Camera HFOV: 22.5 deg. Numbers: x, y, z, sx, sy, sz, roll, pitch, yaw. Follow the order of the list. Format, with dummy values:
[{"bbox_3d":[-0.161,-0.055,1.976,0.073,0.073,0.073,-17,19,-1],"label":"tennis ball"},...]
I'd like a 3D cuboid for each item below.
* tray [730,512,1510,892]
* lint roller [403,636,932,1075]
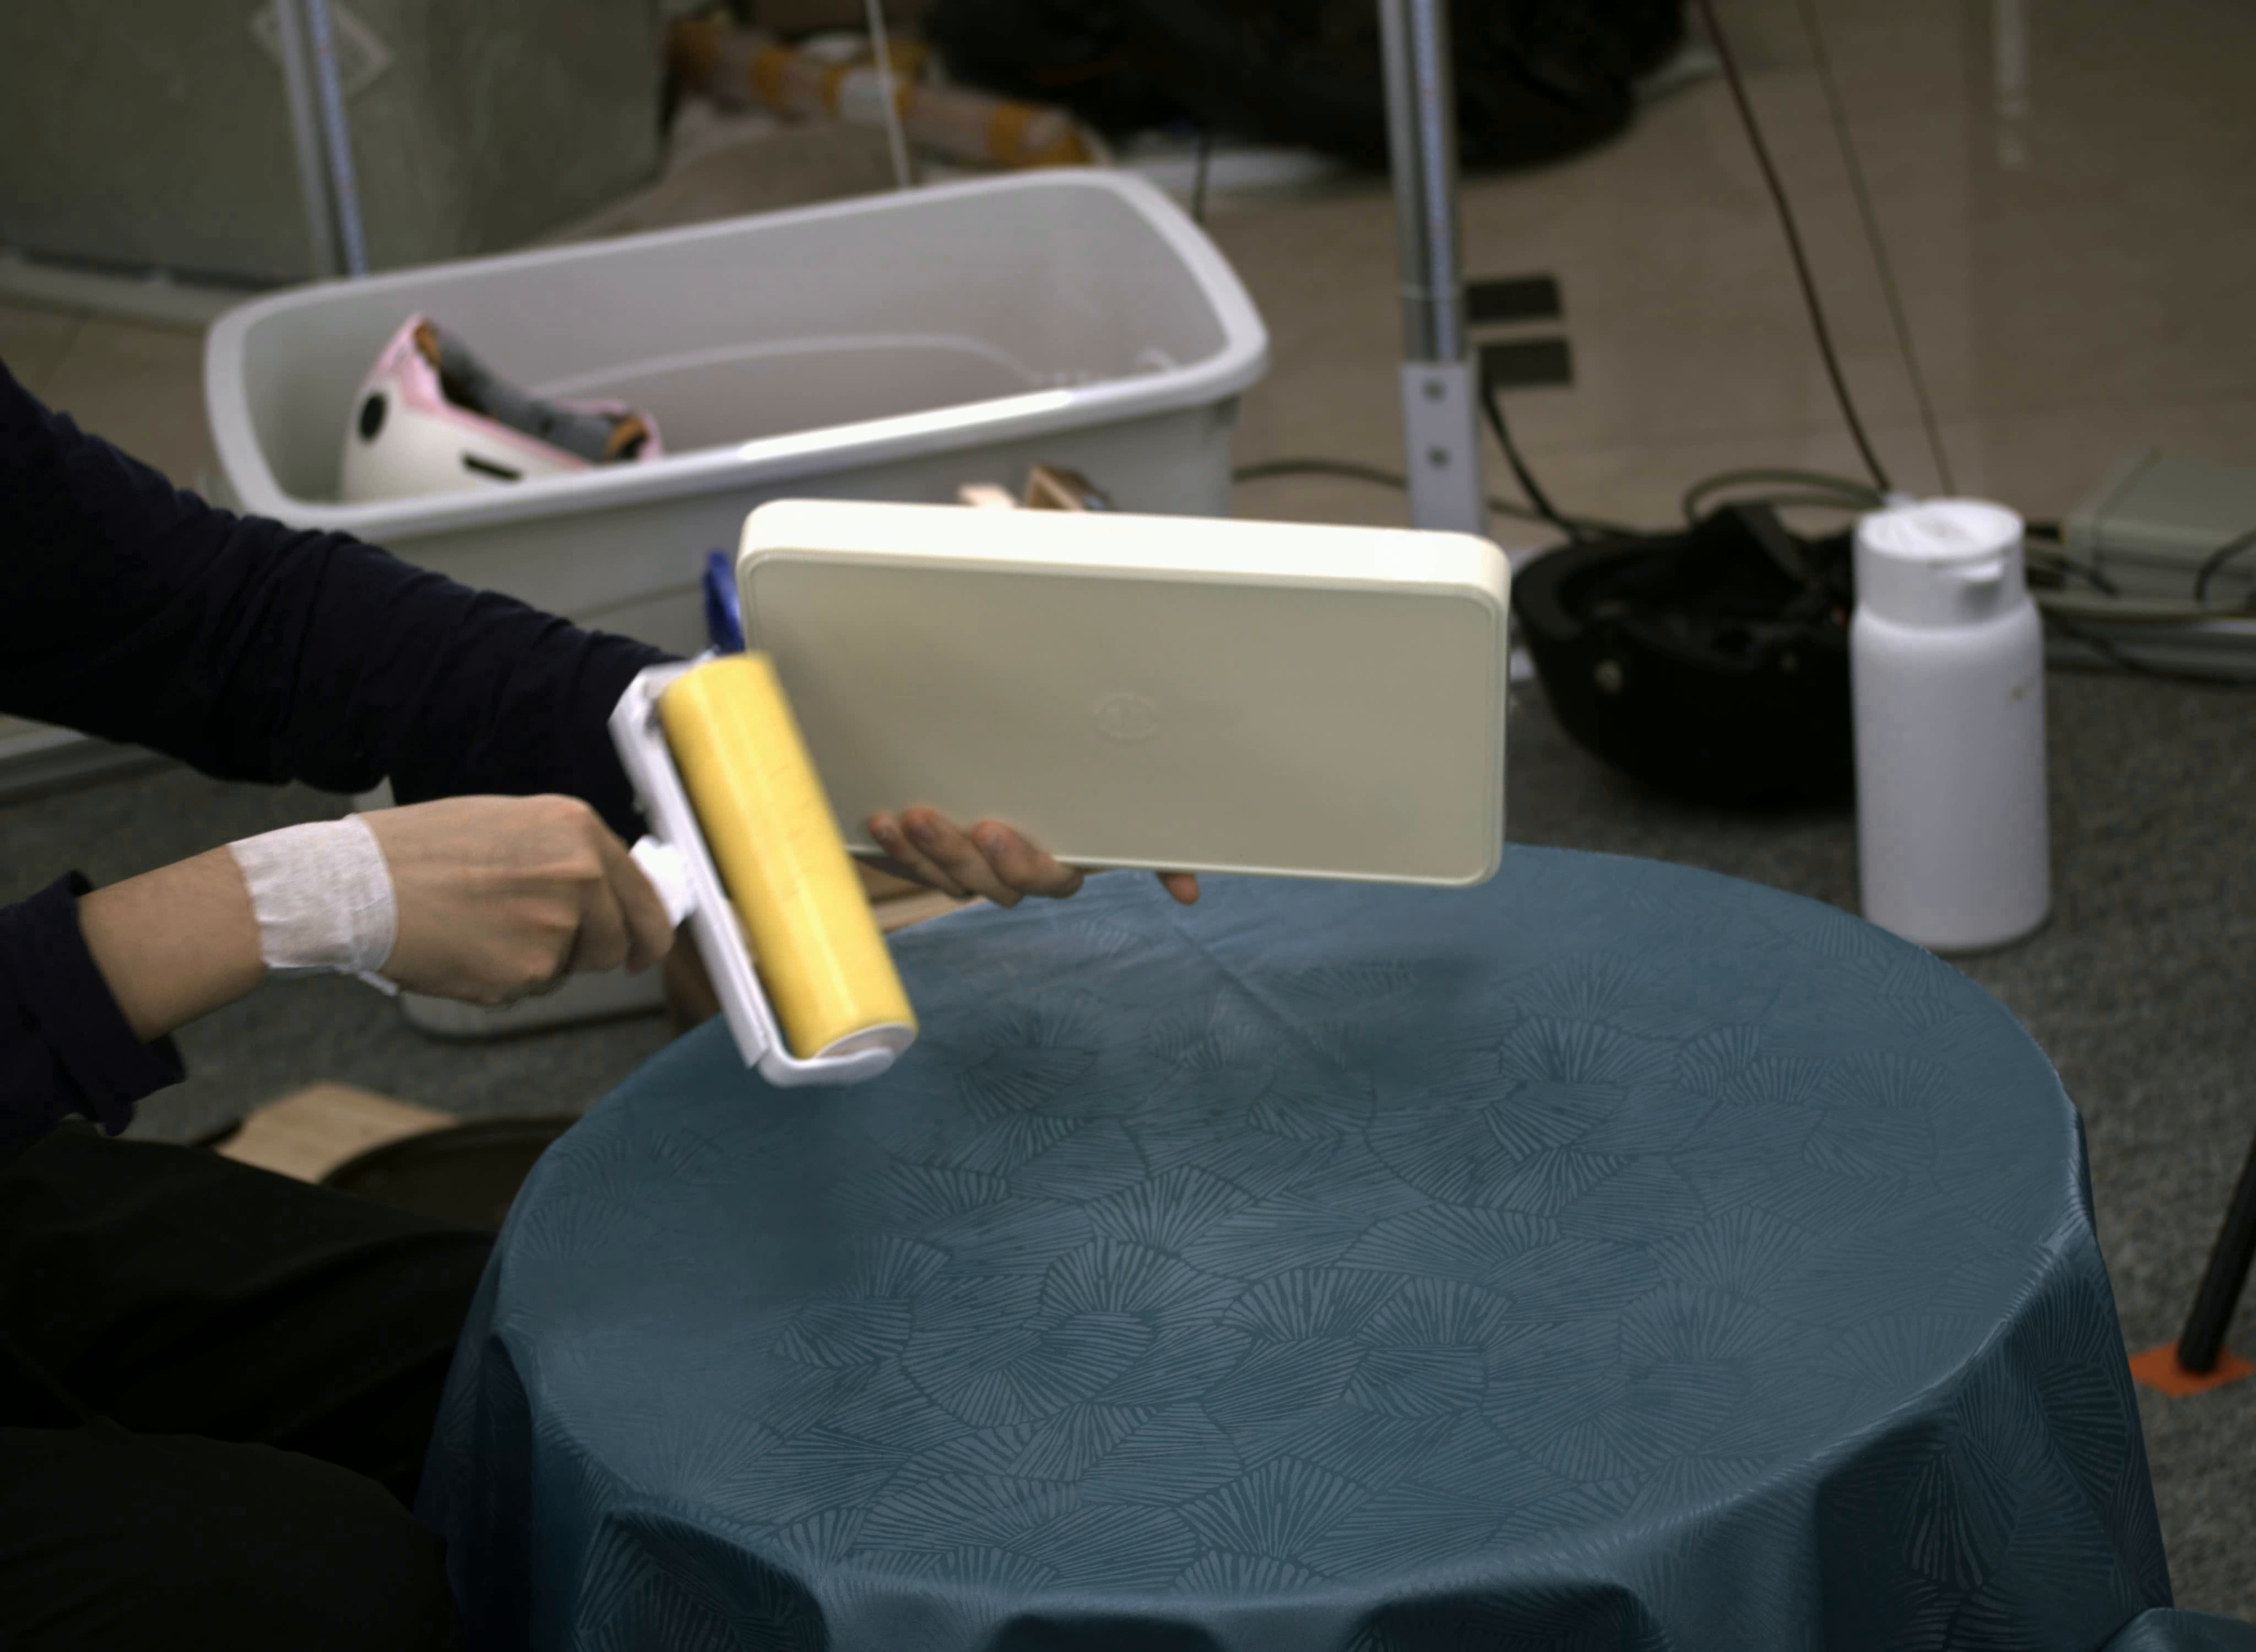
[{"bbox_3d":[-0.001,-0.046,2.227,0.299,0.195,0.027,3,53,5],"label":"tray"},{"bbox_3d":[-0.177,0.017,2.078,0.191,0.173,0.052,-8,-20,-44],"label":"lint roller"}]
